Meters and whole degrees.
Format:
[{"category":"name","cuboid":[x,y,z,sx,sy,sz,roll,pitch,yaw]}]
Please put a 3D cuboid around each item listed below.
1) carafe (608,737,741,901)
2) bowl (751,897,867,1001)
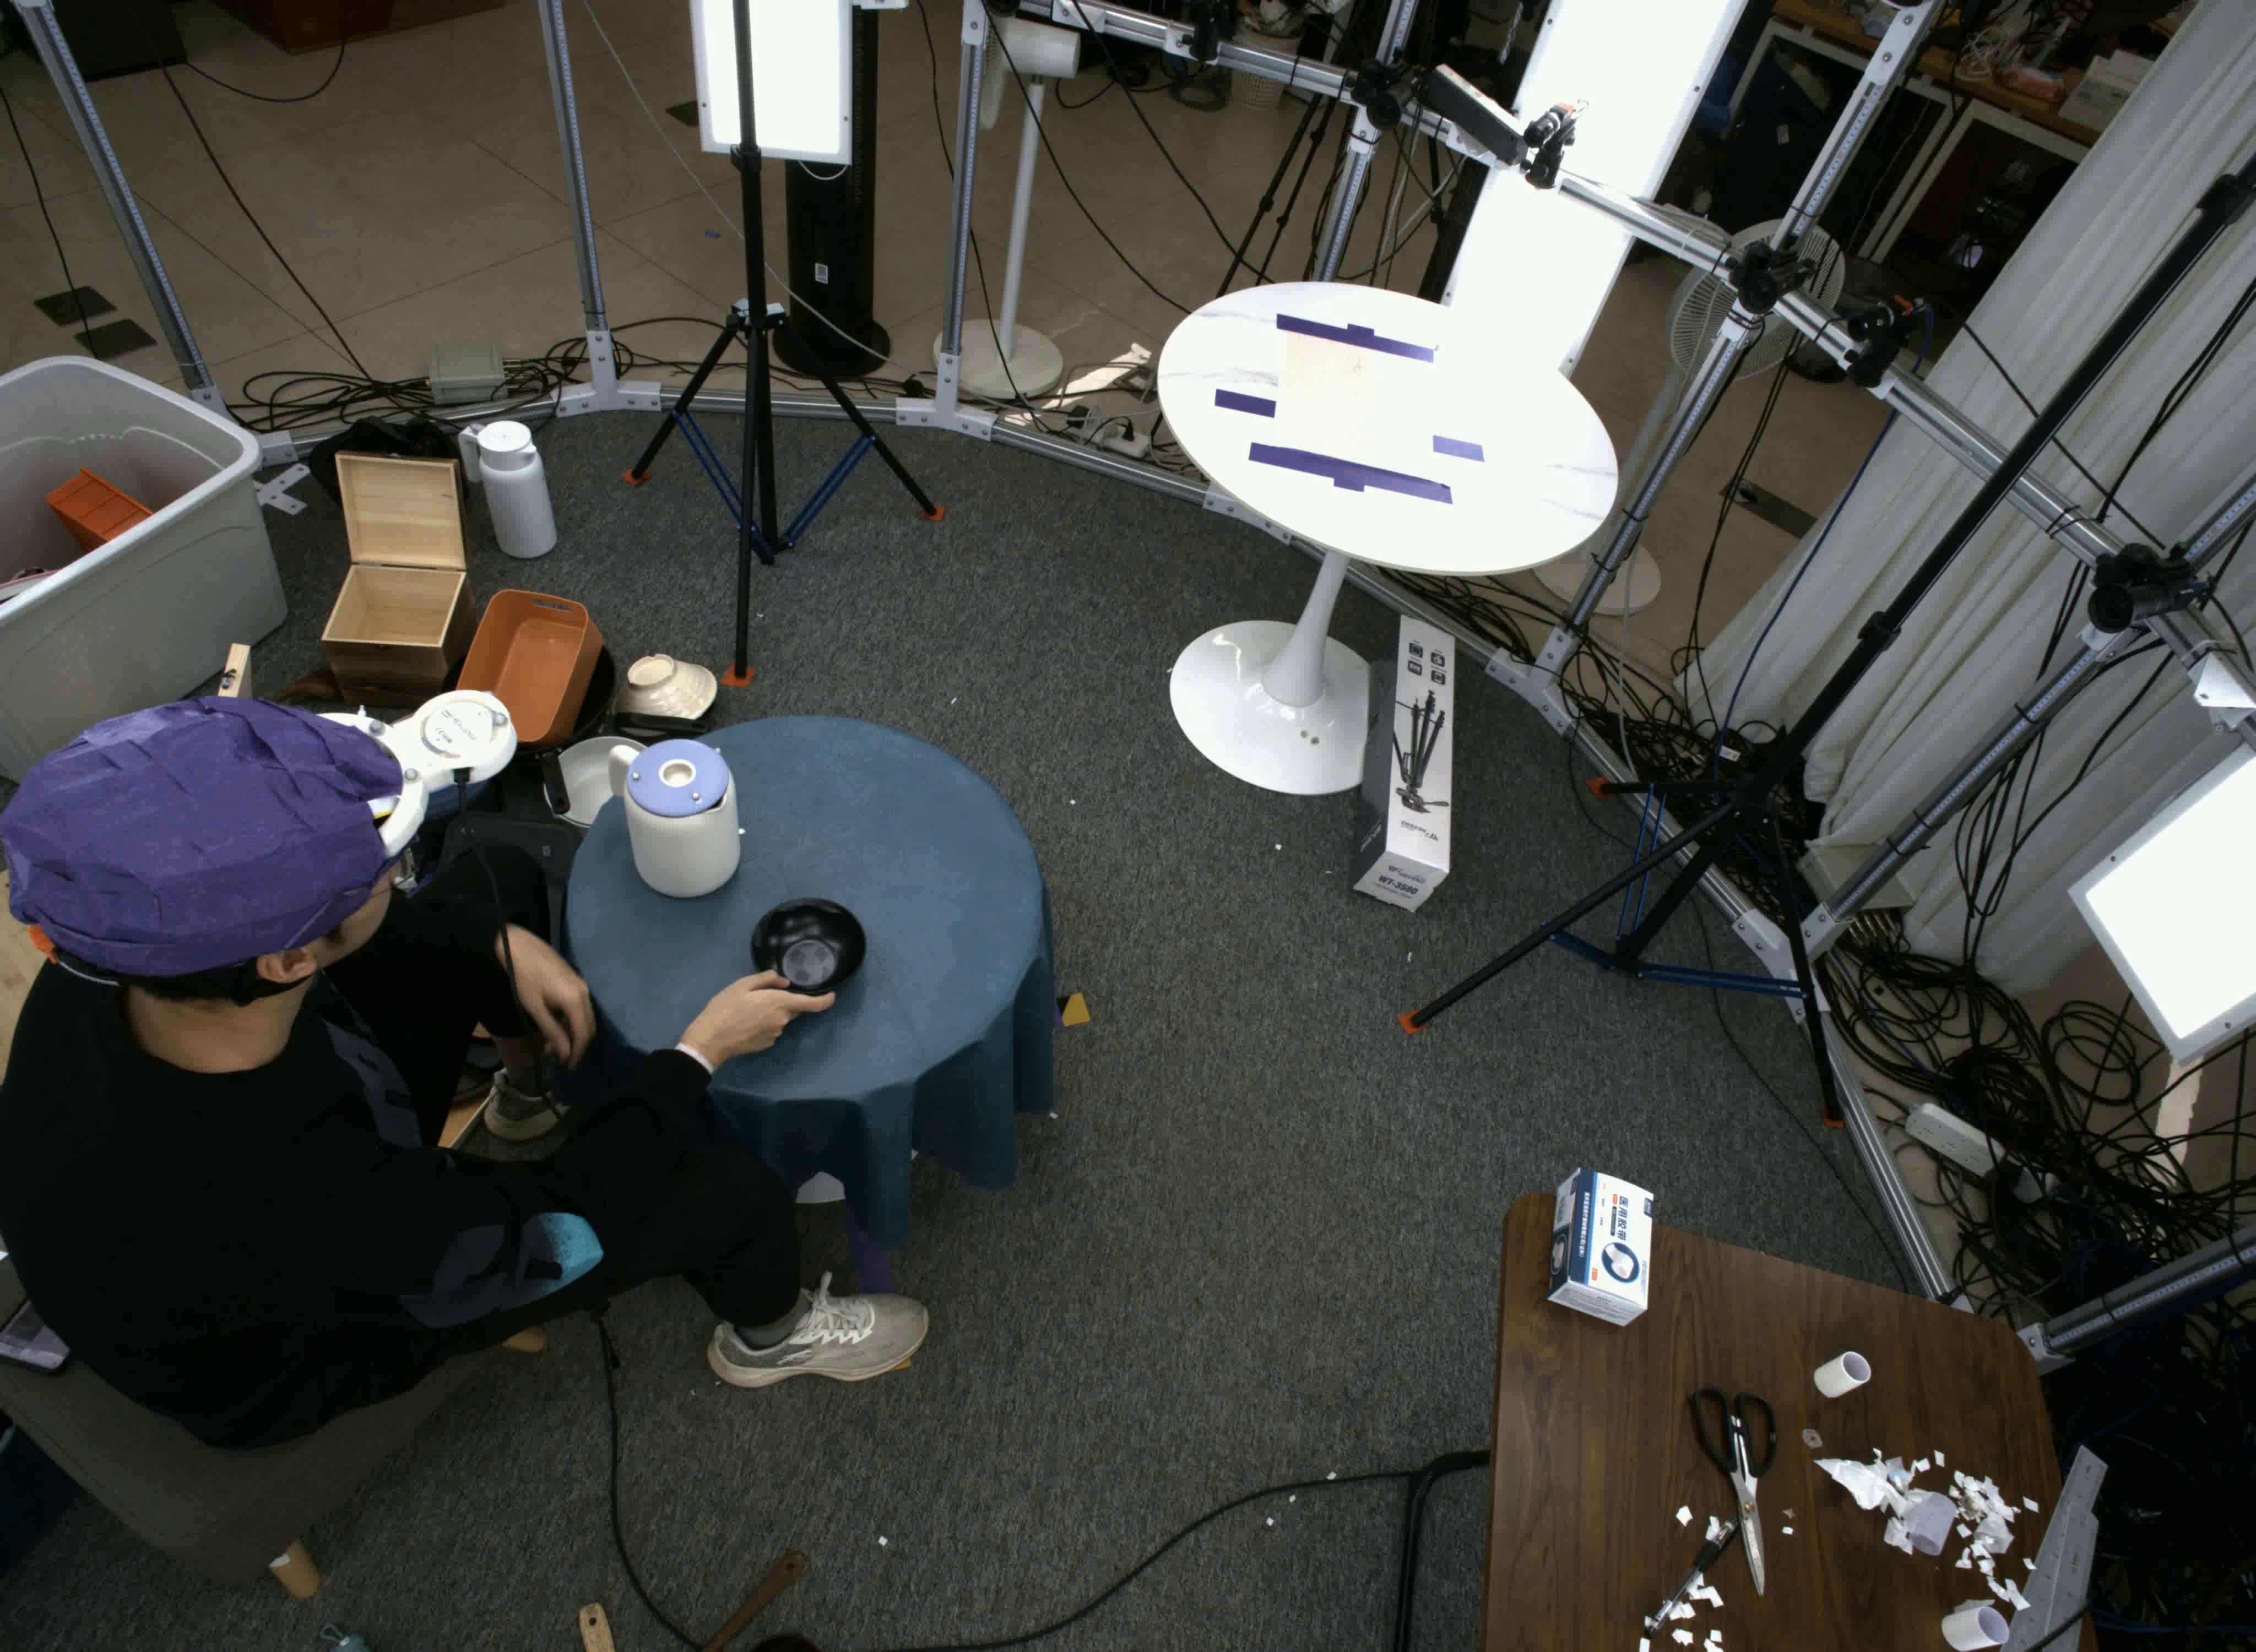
[{"category":"carafe","cuboid":[-0.572,-0.021,1.596,0.187,0.187,0.132,27,51,11]},{"category":"bowl","cuboid":[-0.390,0.156,1.592,0.139,0.051,0.138,7,55,-8]}]
